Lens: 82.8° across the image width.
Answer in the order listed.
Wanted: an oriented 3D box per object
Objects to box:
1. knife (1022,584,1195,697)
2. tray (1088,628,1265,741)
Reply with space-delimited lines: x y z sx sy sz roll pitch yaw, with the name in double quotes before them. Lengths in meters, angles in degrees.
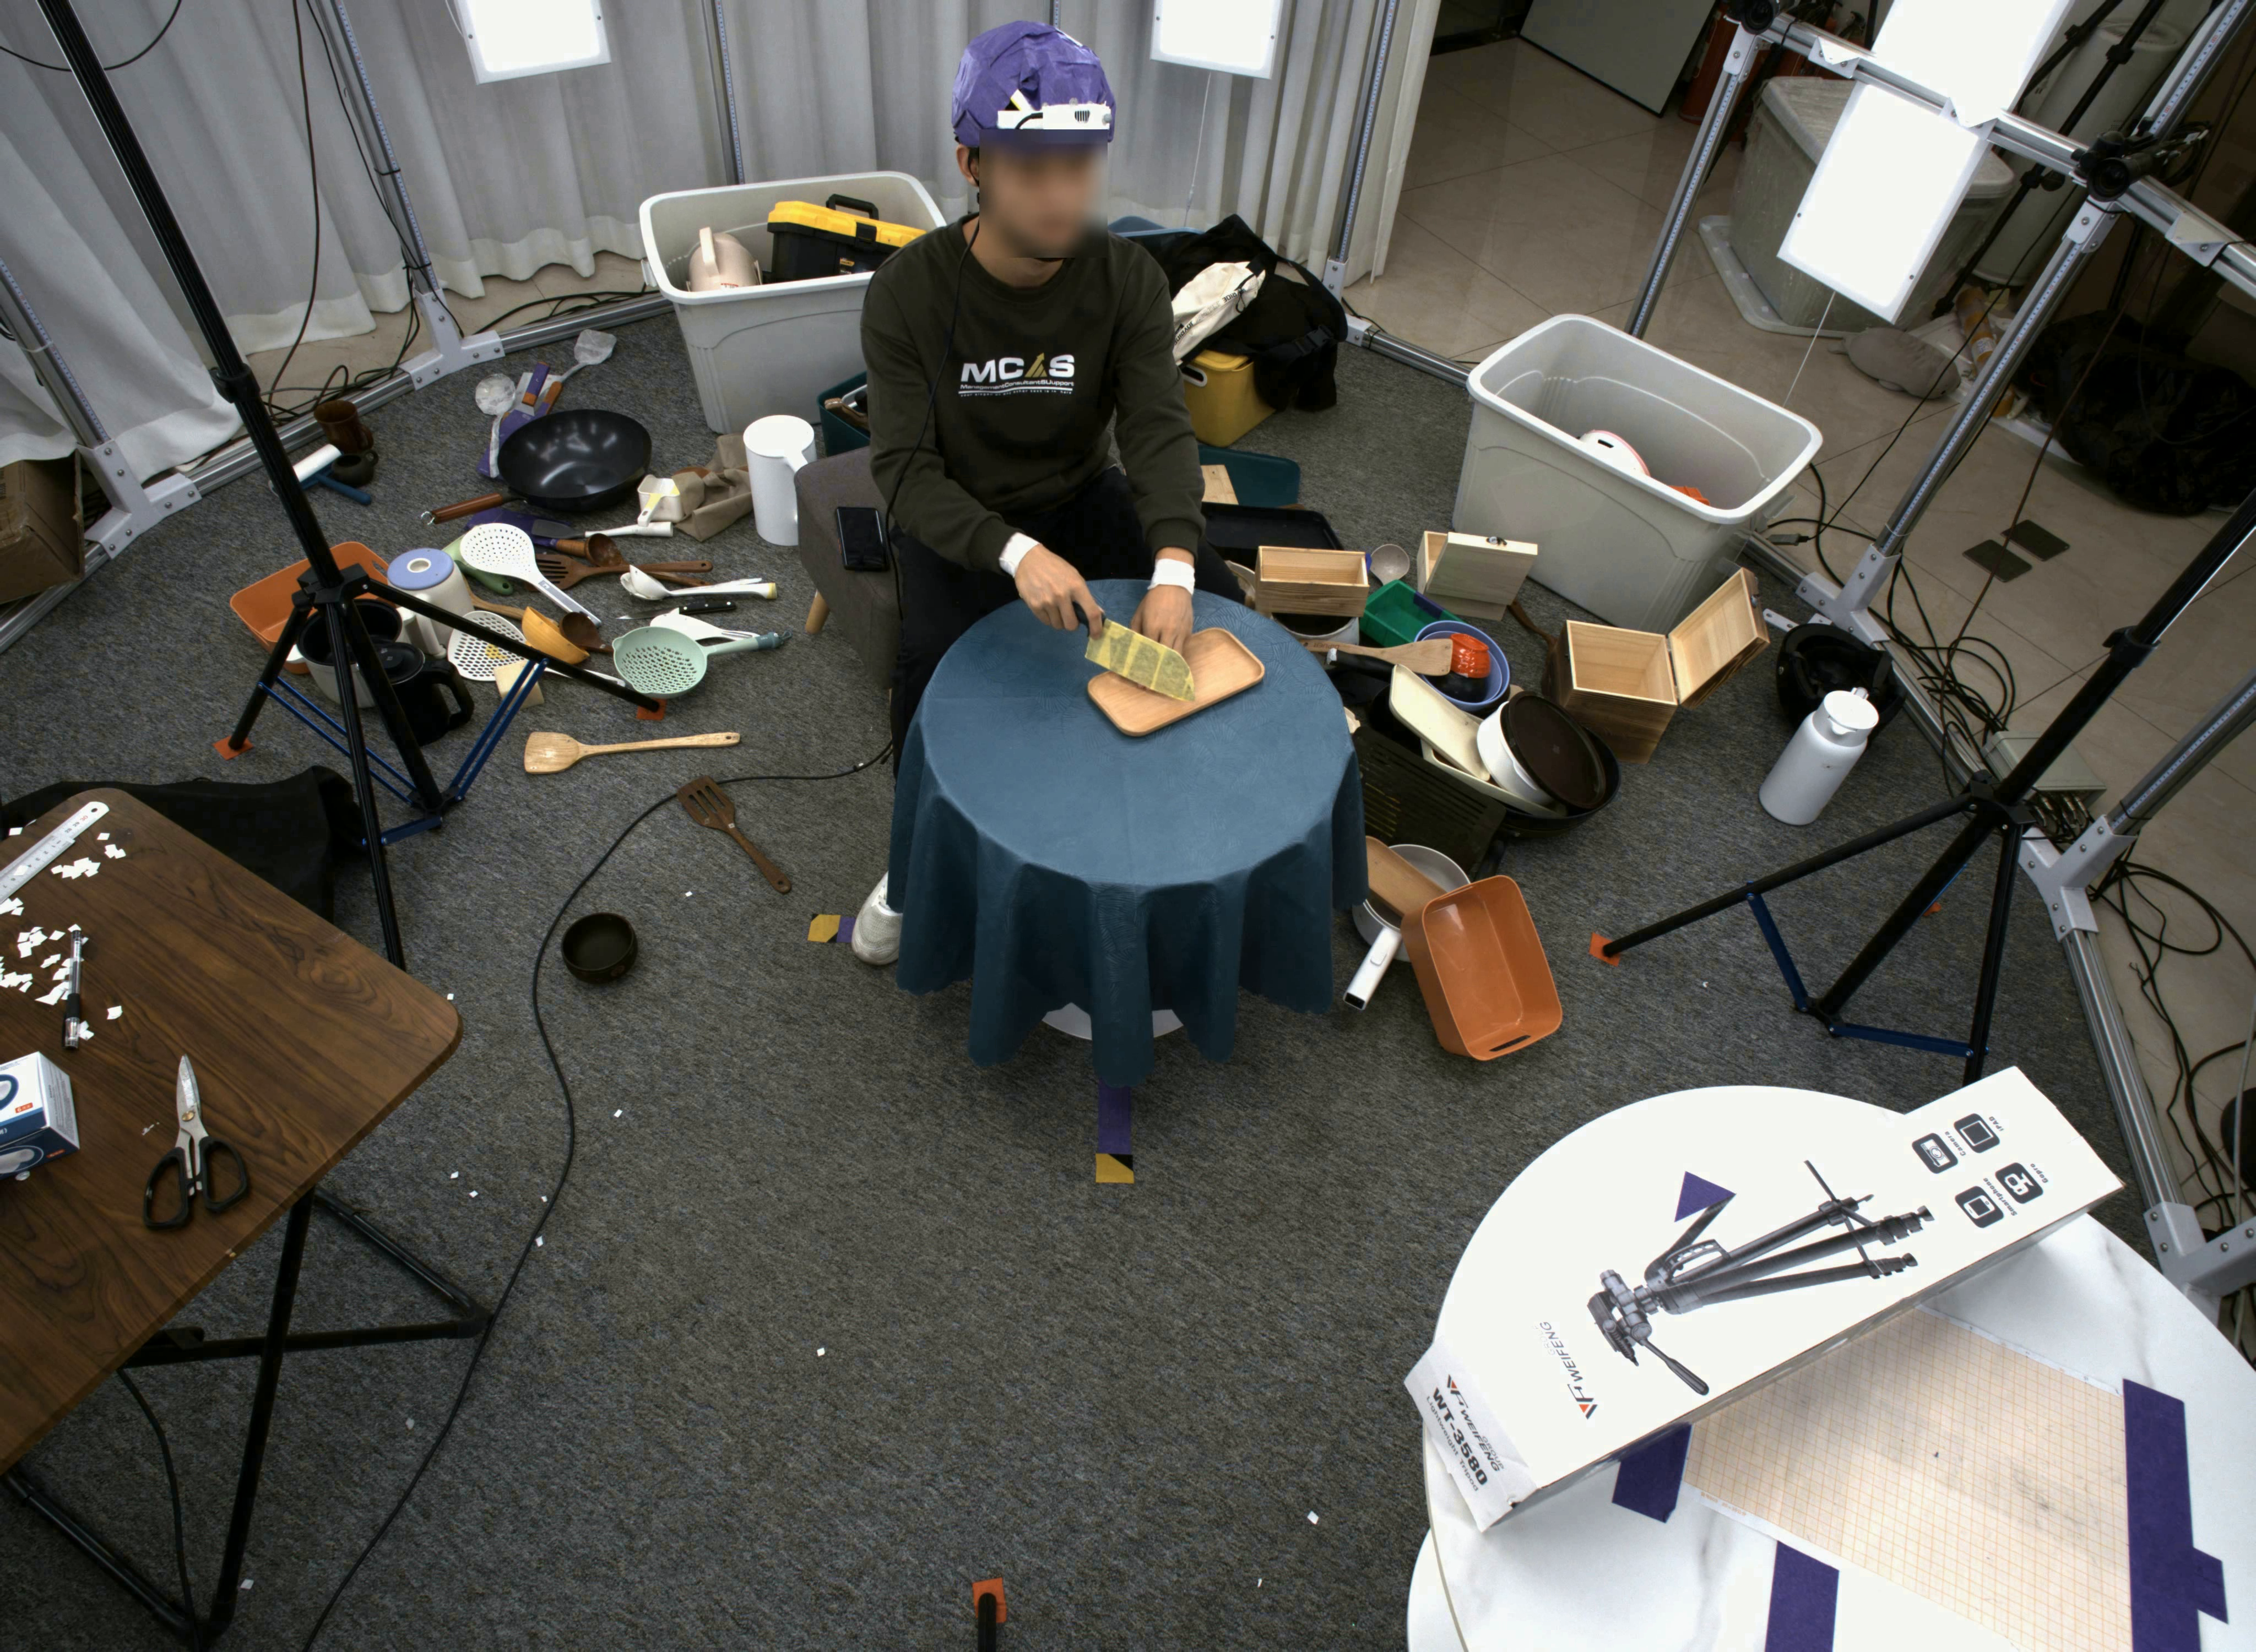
"knife" -0.029 -0.262 1.815 0.291 0.079 0.027 30 34 12
"tray" 0.071 -0.205 1.843 0.252 0.022 0.133 -27 53 -22
